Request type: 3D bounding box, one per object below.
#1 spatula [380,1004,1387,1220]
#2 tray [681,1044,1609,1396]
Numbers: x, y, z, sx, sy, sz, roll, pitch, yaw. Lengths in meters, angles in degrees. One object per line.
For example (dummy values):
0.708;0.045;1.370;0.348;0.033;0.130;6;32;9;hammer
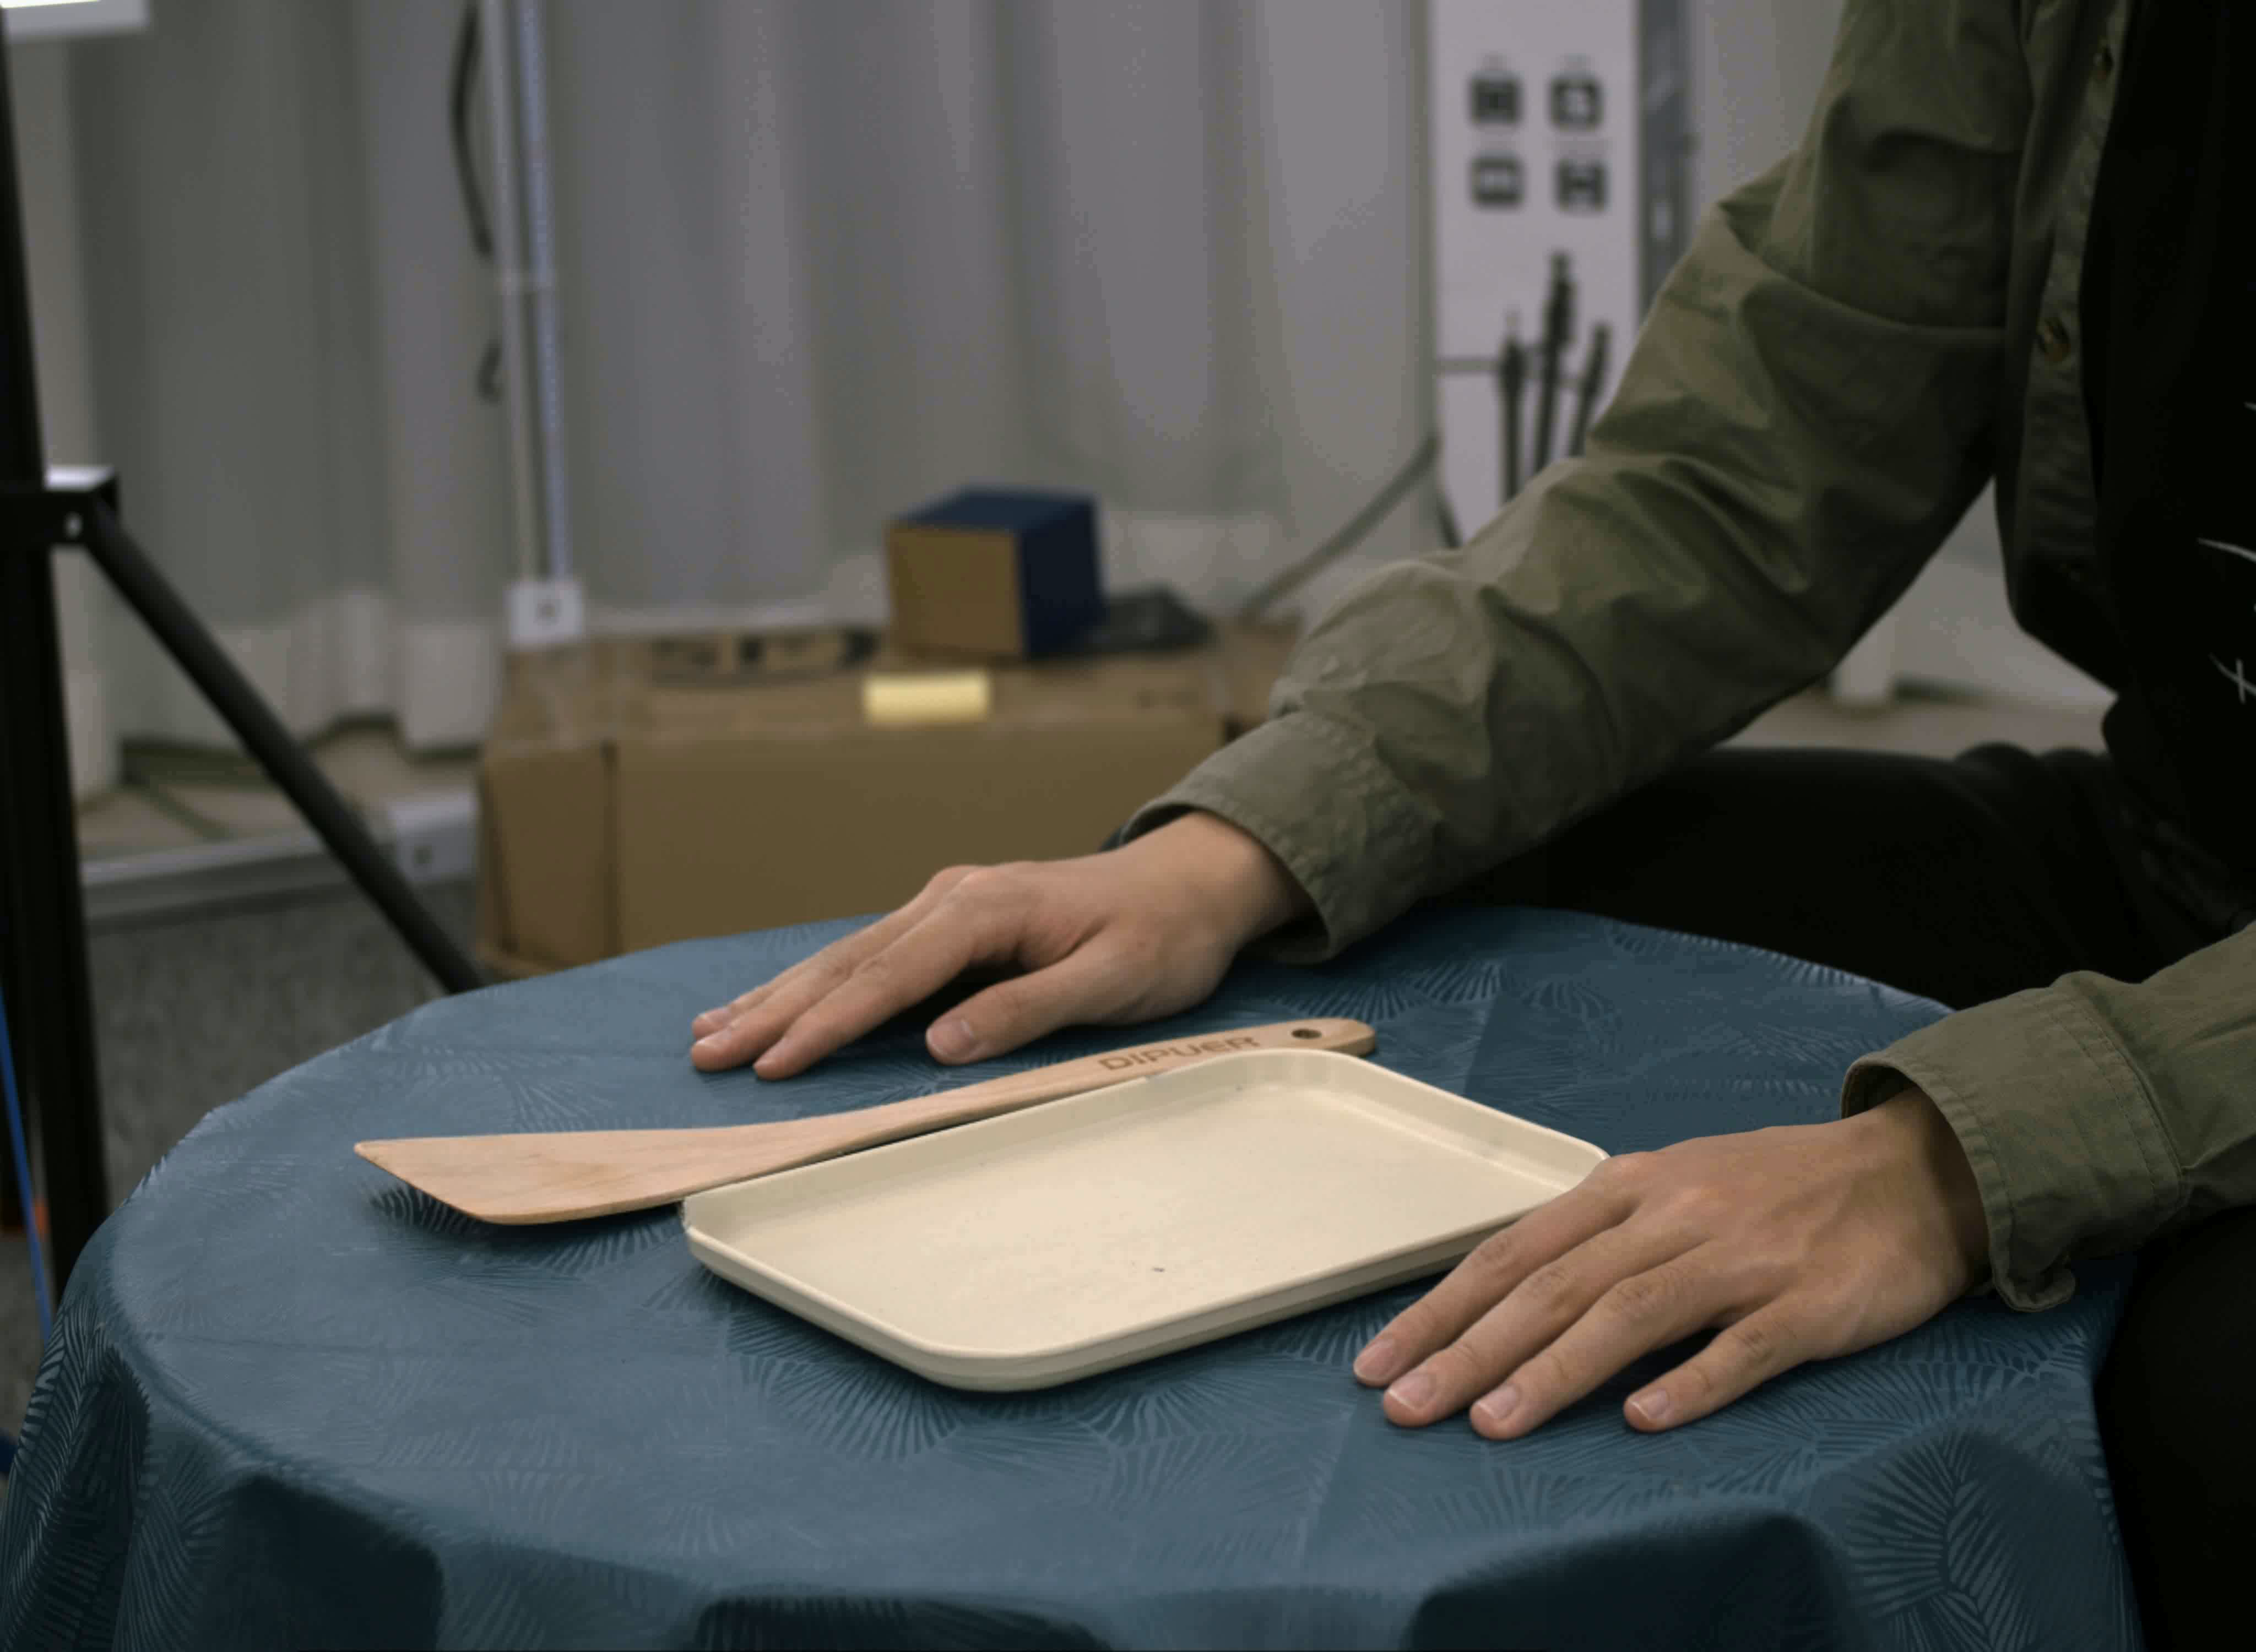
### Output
-0.063;0.083;1.626;0.321;0.016;0.081;-10;18;-24;spatula
0.006;0.111;1.519;0.234;0.017;0.175;-13;20;-33;tray
